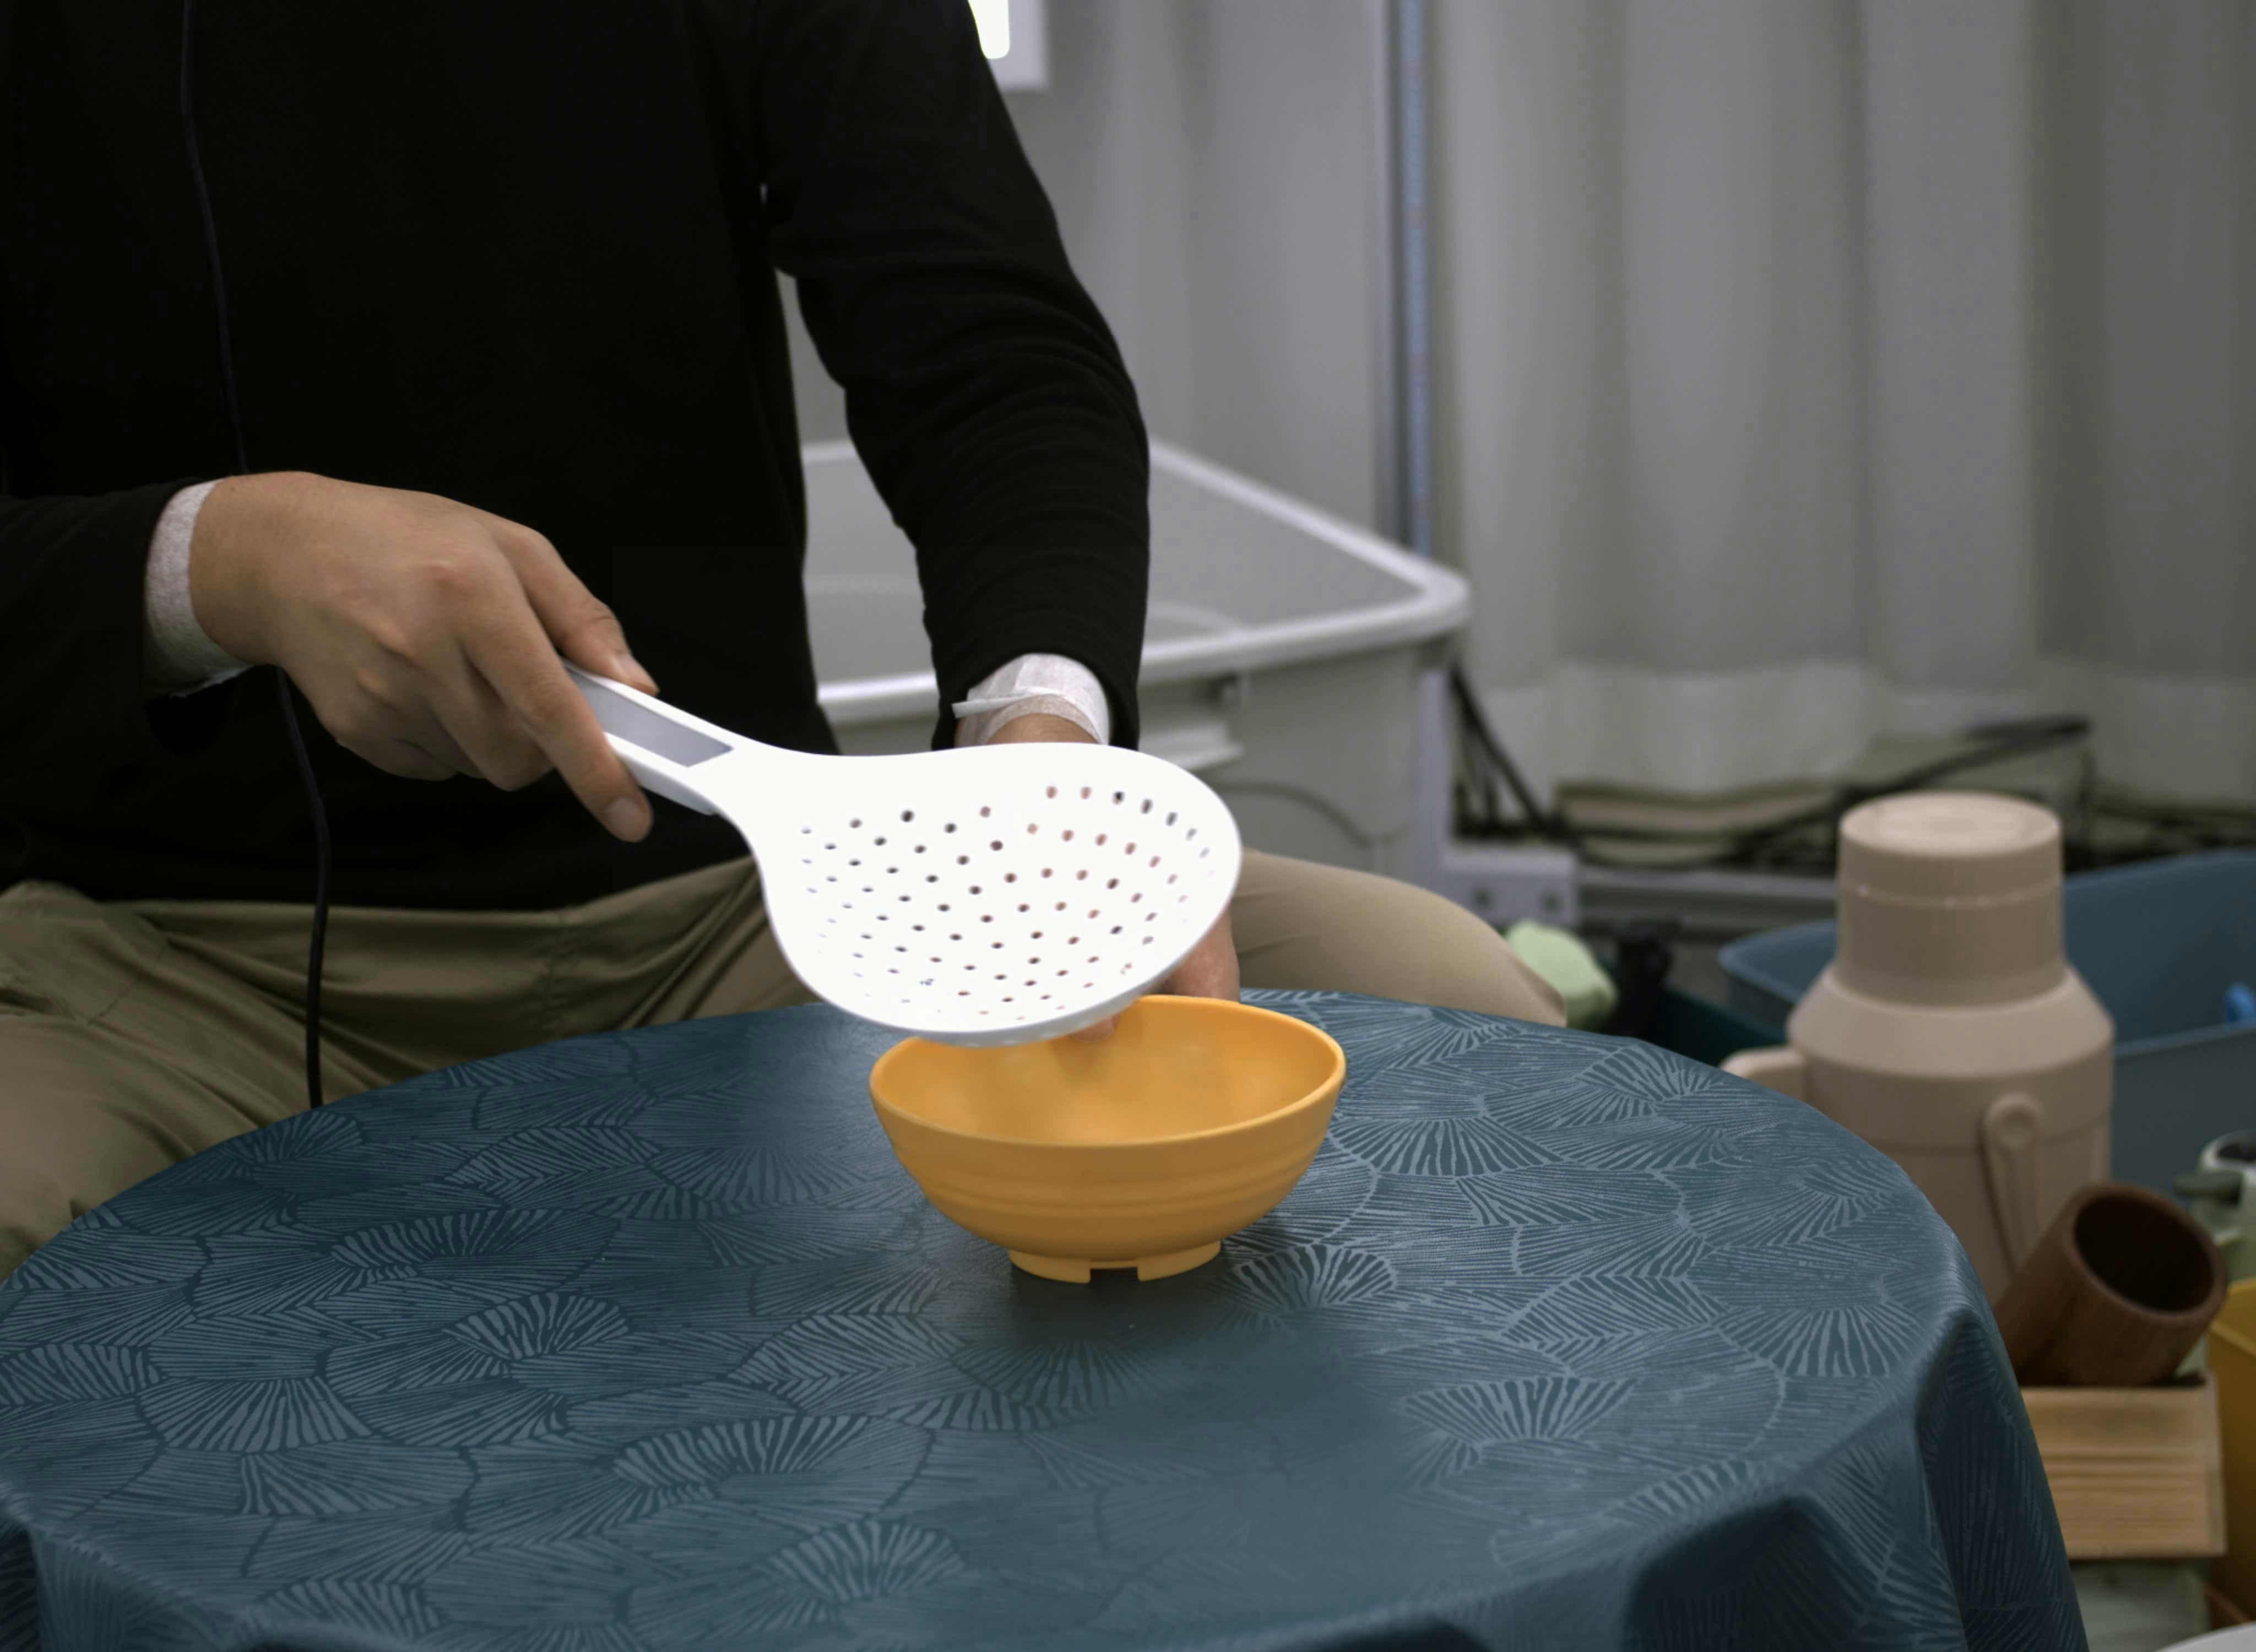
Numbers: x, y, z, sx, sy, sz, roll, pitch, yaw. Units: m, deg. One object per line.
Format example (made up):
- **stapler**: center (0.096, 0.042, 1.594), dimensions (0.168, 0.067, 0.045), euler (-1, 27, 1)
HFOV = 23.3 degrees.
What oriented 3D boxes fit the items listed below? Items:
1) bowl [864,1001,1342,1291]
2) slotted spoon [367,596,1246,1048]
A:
- **bowl**: center (-0.007, 0.102, 1.655), dimensions (0.145, 0.060, 0.146), euler (-1, 15, 0)
- **slotted spoon**: center (-0.111, -0.011, 1.670), dimensions (0.352, 0.045, 0.136), euler (26, 50, 34)
